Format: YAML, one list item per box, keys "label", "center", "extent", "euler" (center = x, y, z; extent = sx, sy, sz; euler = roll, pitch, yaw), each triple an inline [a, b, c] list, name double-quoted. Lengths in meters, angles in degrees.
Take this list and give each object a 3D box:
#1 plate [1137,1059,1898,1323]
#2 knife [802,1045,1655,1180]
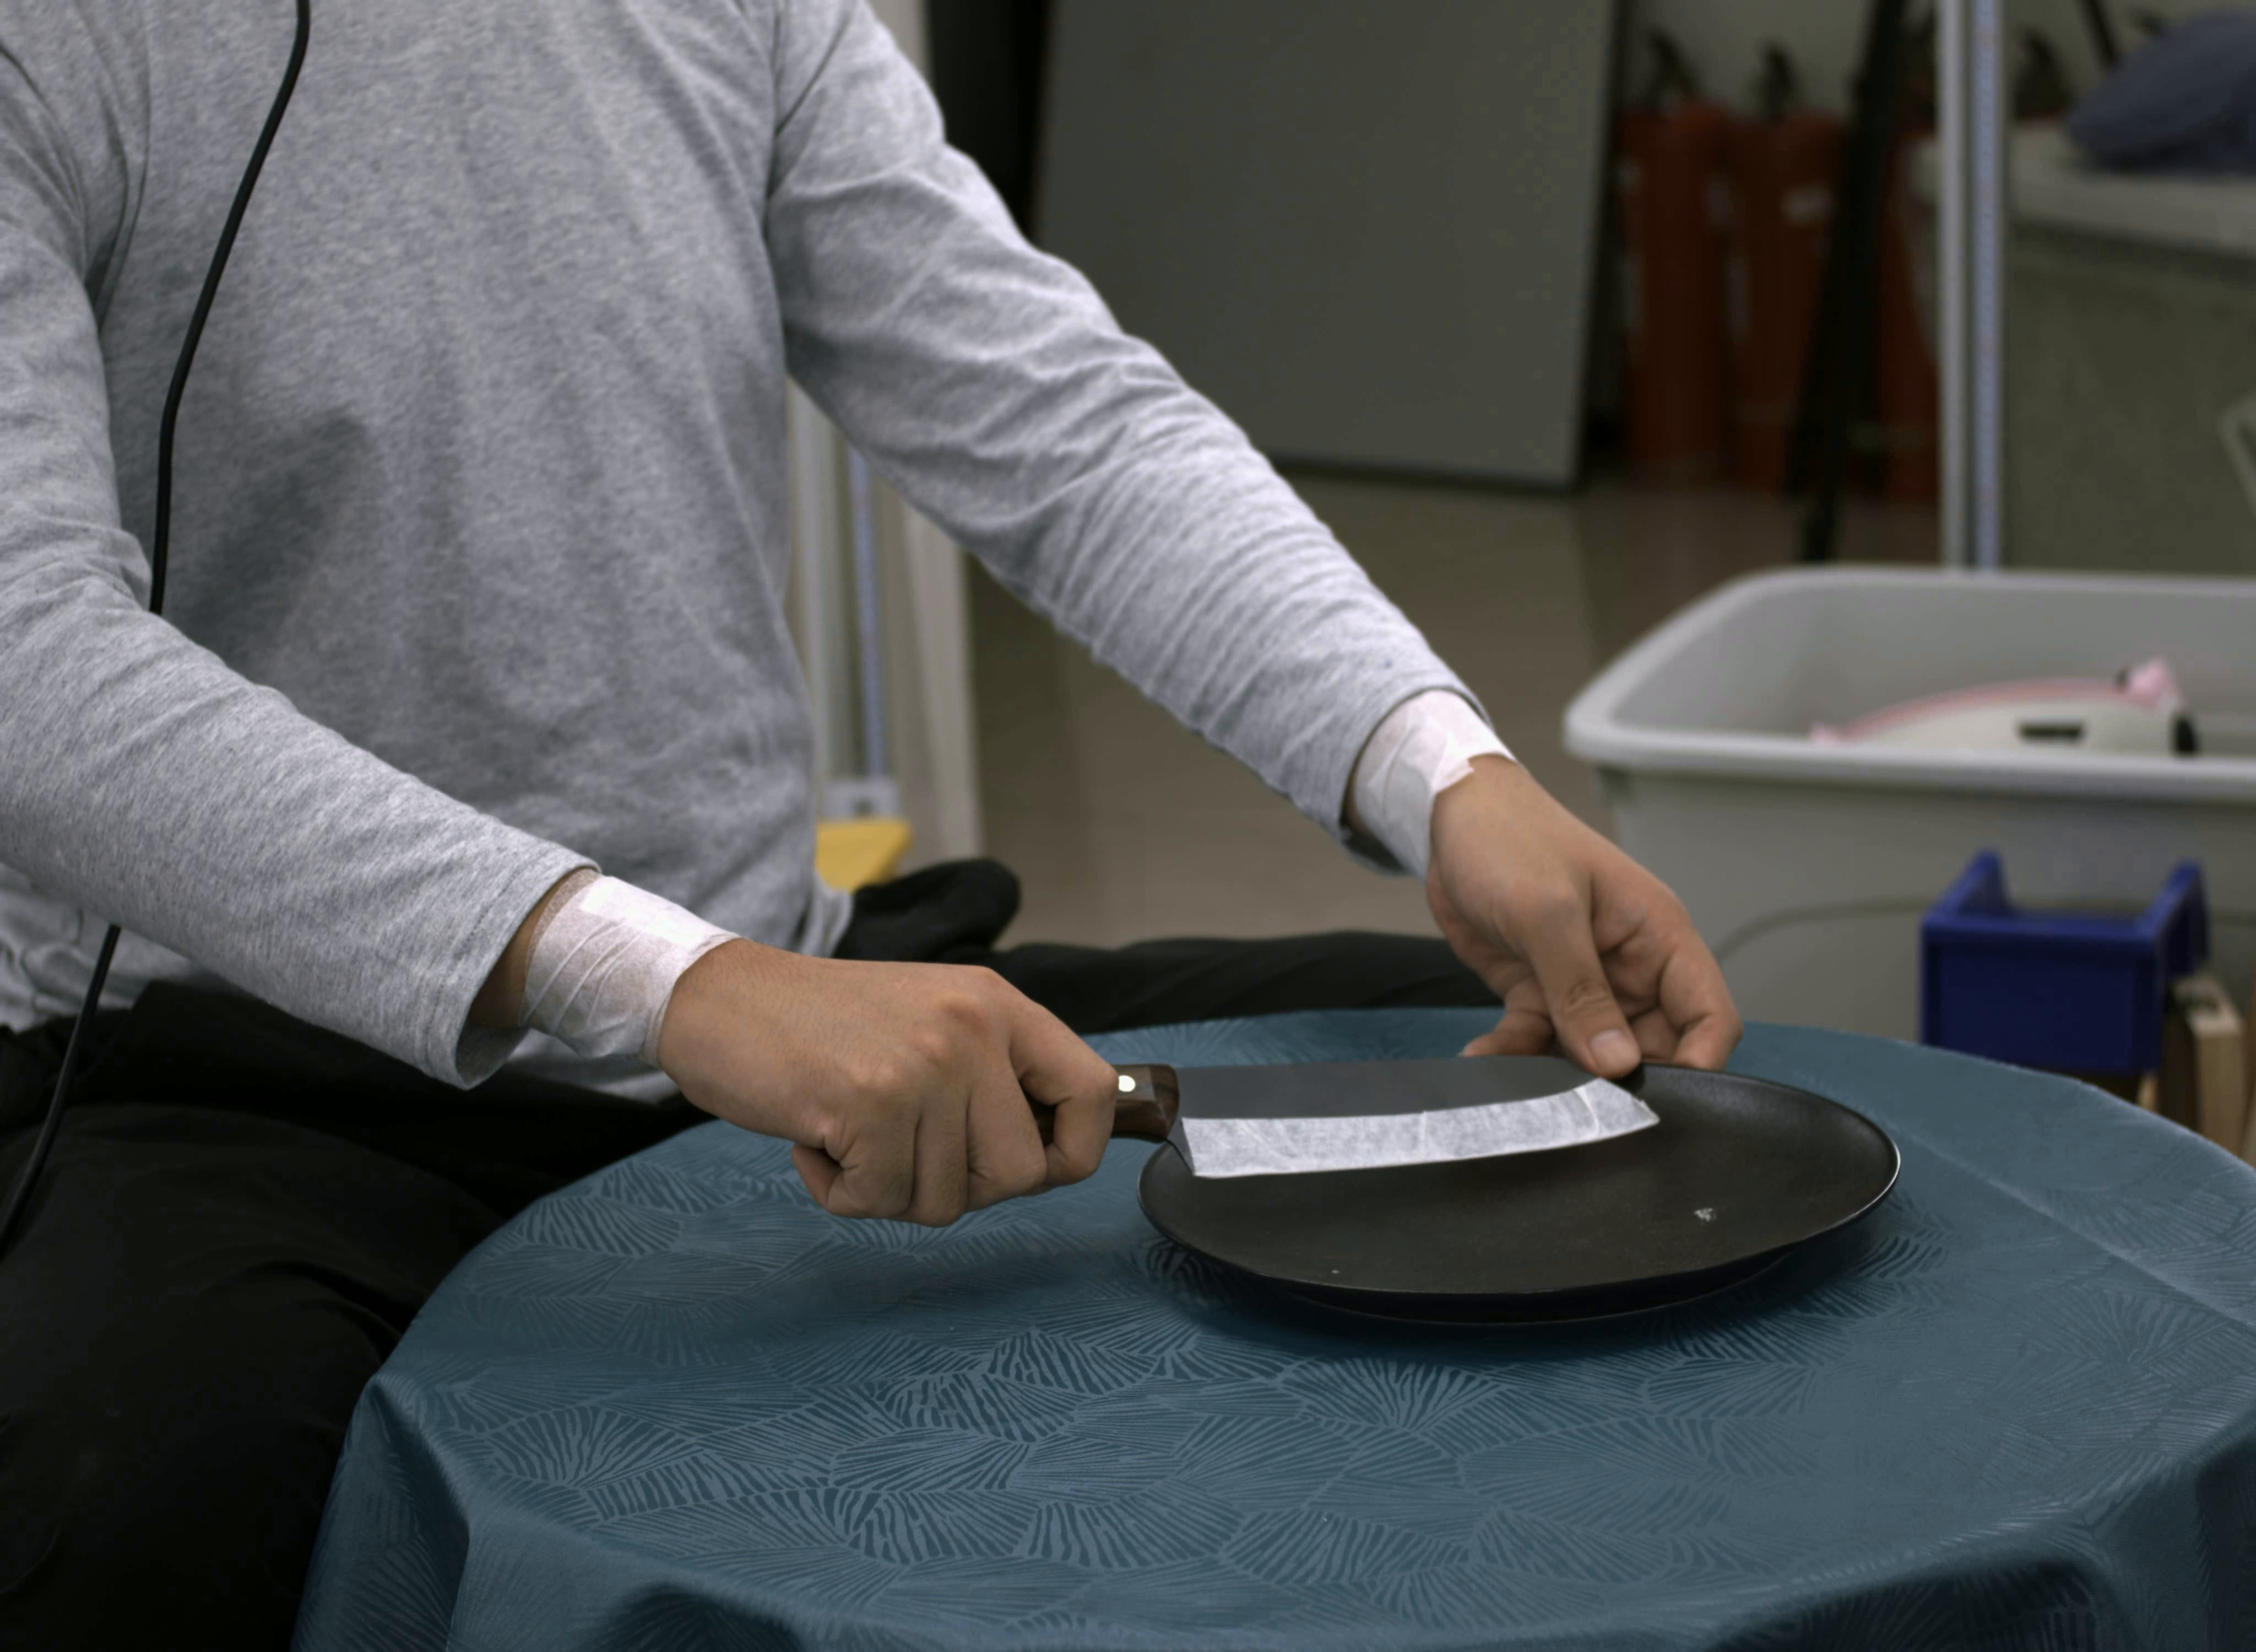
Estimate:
- label: "plate"
  center: [0.123, 0.118, 1.704]
  extent: [0.241, 0.024, 0.245]
  euler: [-4, 14, 0]
- label: "knife"
  center: [0.036, 0.092, 1.715]
  extent: [0.283, 0.020, 0.051]
  euler: [0, 50, -16]
